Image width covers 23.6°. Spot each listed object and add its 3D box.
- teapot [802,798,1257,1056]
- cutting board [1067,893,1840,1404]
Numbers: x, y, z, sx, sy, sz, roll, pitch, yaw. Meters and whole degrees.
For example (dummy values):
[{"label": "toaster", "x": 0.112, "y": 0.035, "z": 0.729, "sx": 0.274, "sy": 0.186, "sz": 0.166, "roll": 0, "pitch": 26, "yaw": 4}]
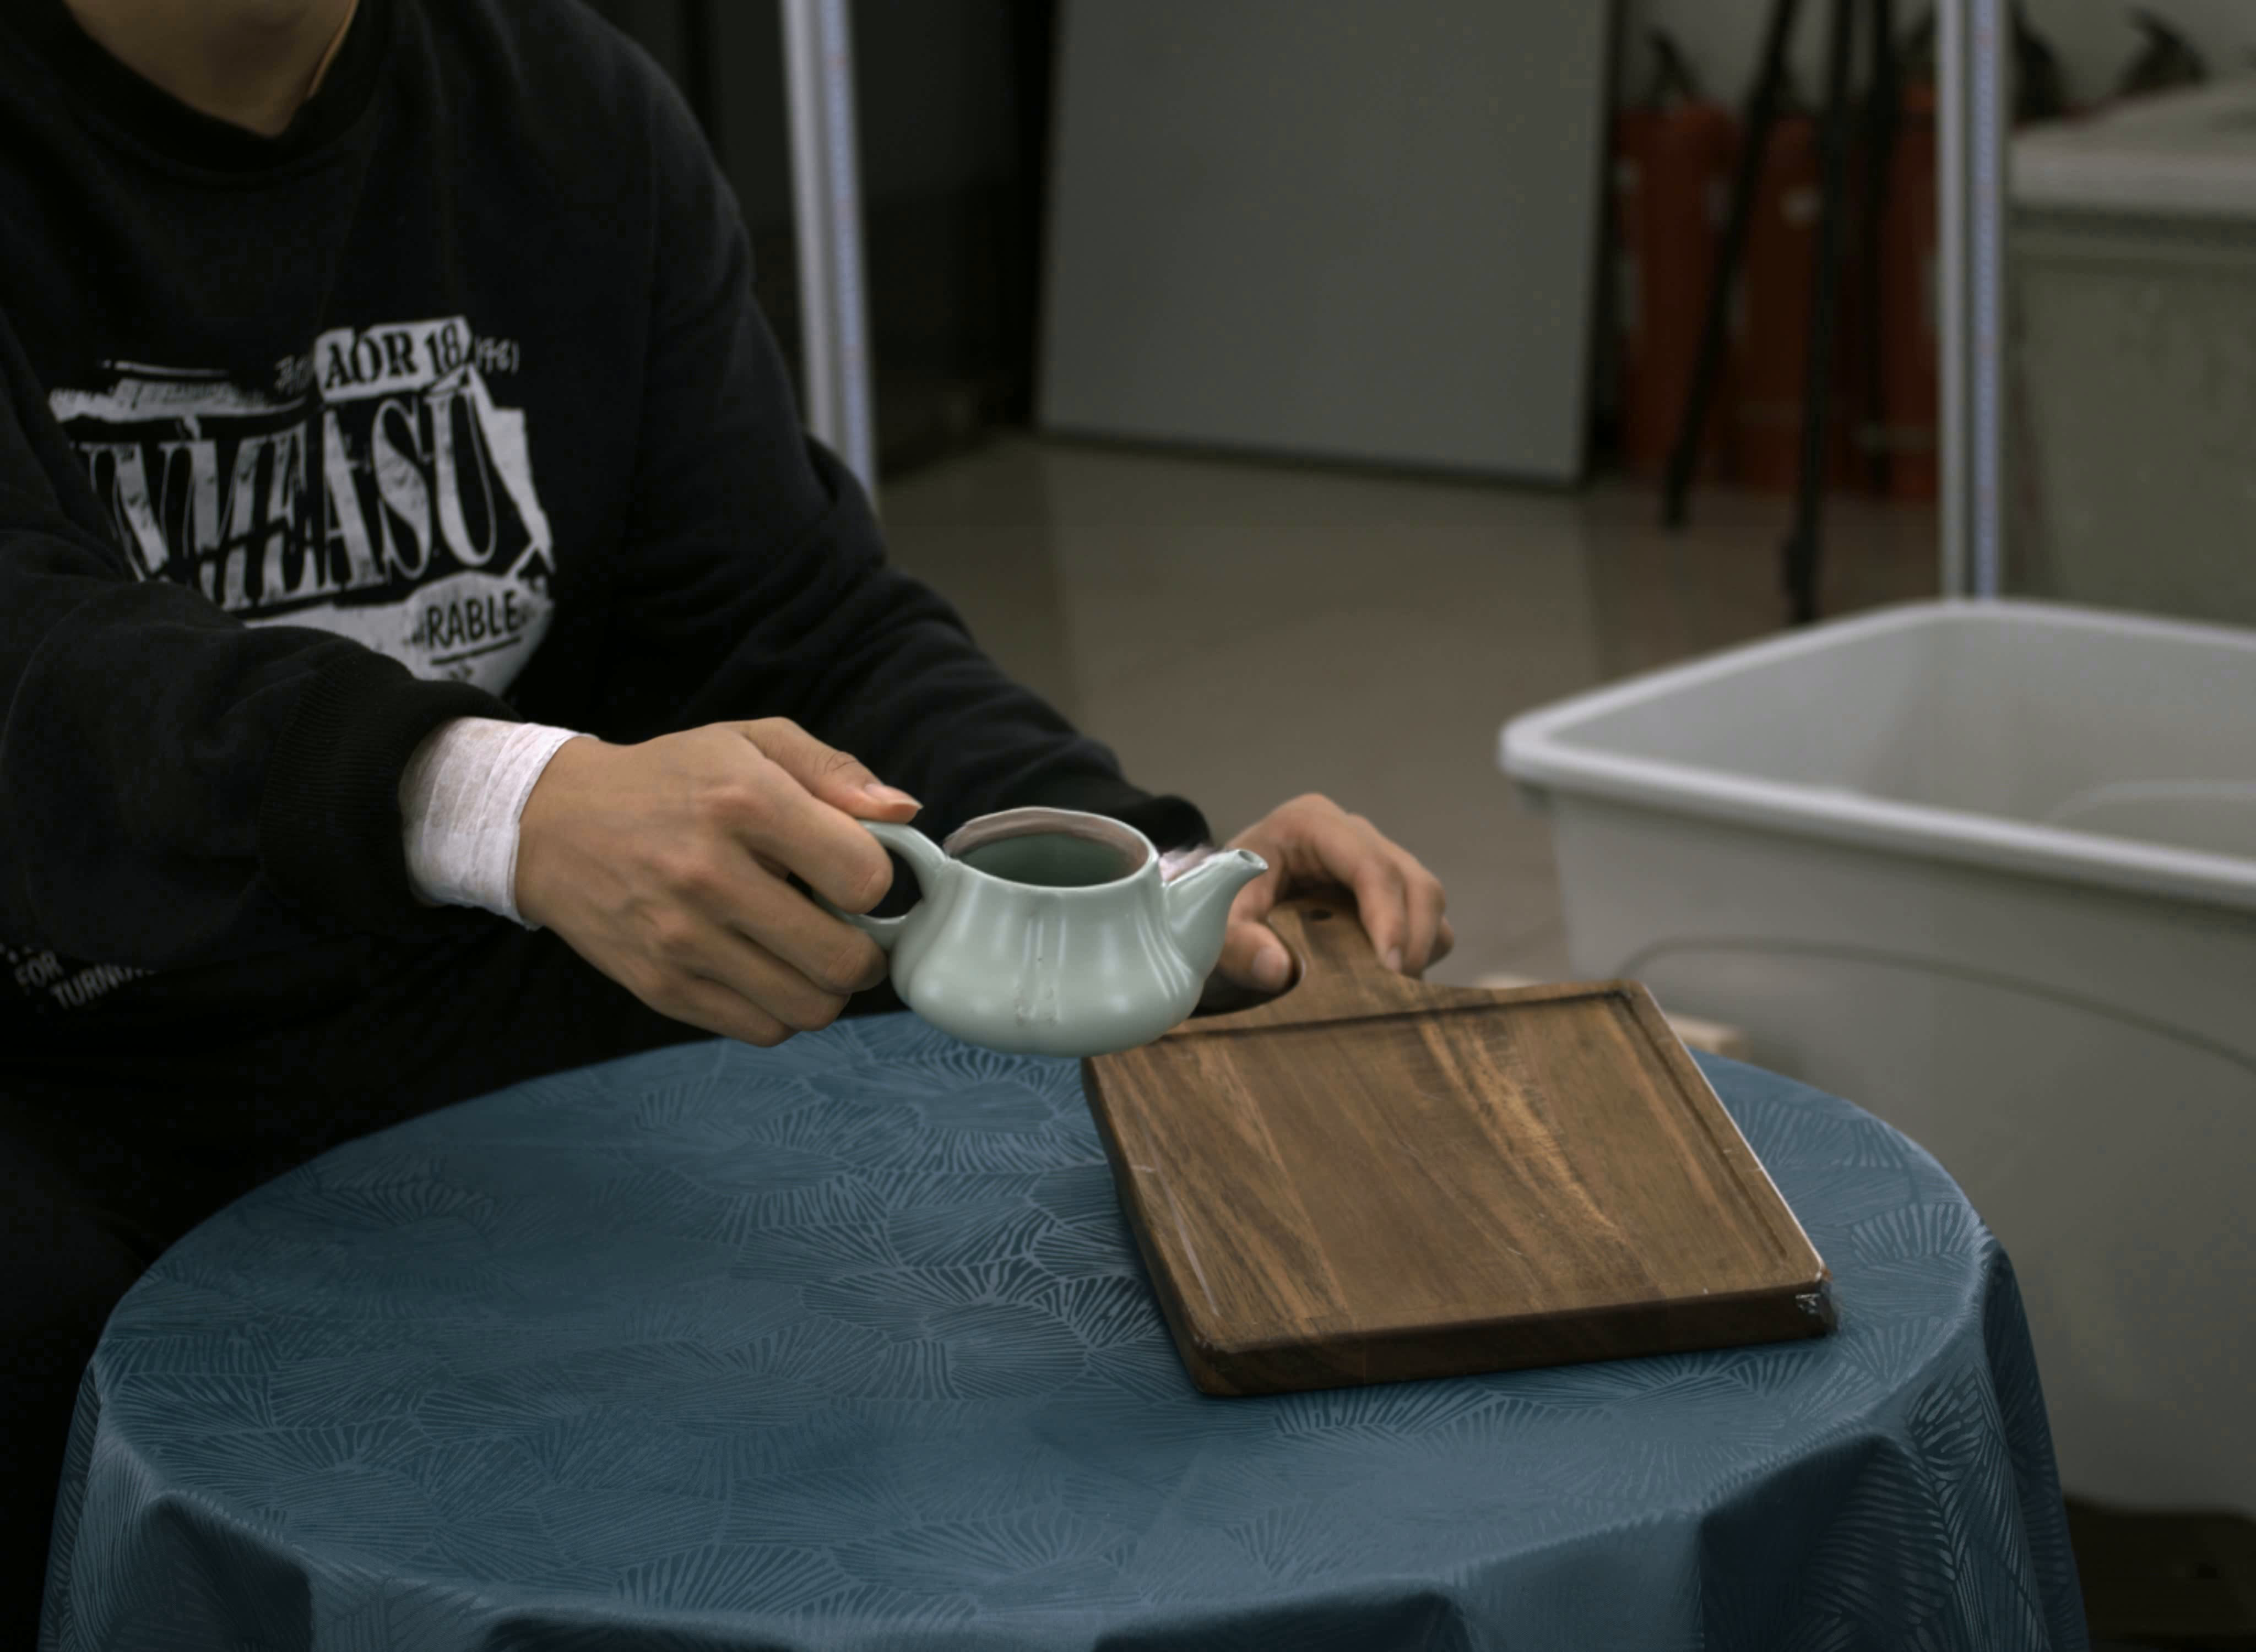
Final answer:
[{"label": "teapot", "x": -0.031, "y": 0.029, "z": 1.616, "sx": 0.135, "sy": 0.062, "sz": 0.096, "roll": 3, "pitch": 24, "yaw": -1}, {"label": "cutting board", "x": 0.088, "y": 0.092, "z": 1.741, "sx": 0.198, "sy": 0.023, "sz": 0.354, "roll": -6, "pitch": 20, "yaw": -7}]
